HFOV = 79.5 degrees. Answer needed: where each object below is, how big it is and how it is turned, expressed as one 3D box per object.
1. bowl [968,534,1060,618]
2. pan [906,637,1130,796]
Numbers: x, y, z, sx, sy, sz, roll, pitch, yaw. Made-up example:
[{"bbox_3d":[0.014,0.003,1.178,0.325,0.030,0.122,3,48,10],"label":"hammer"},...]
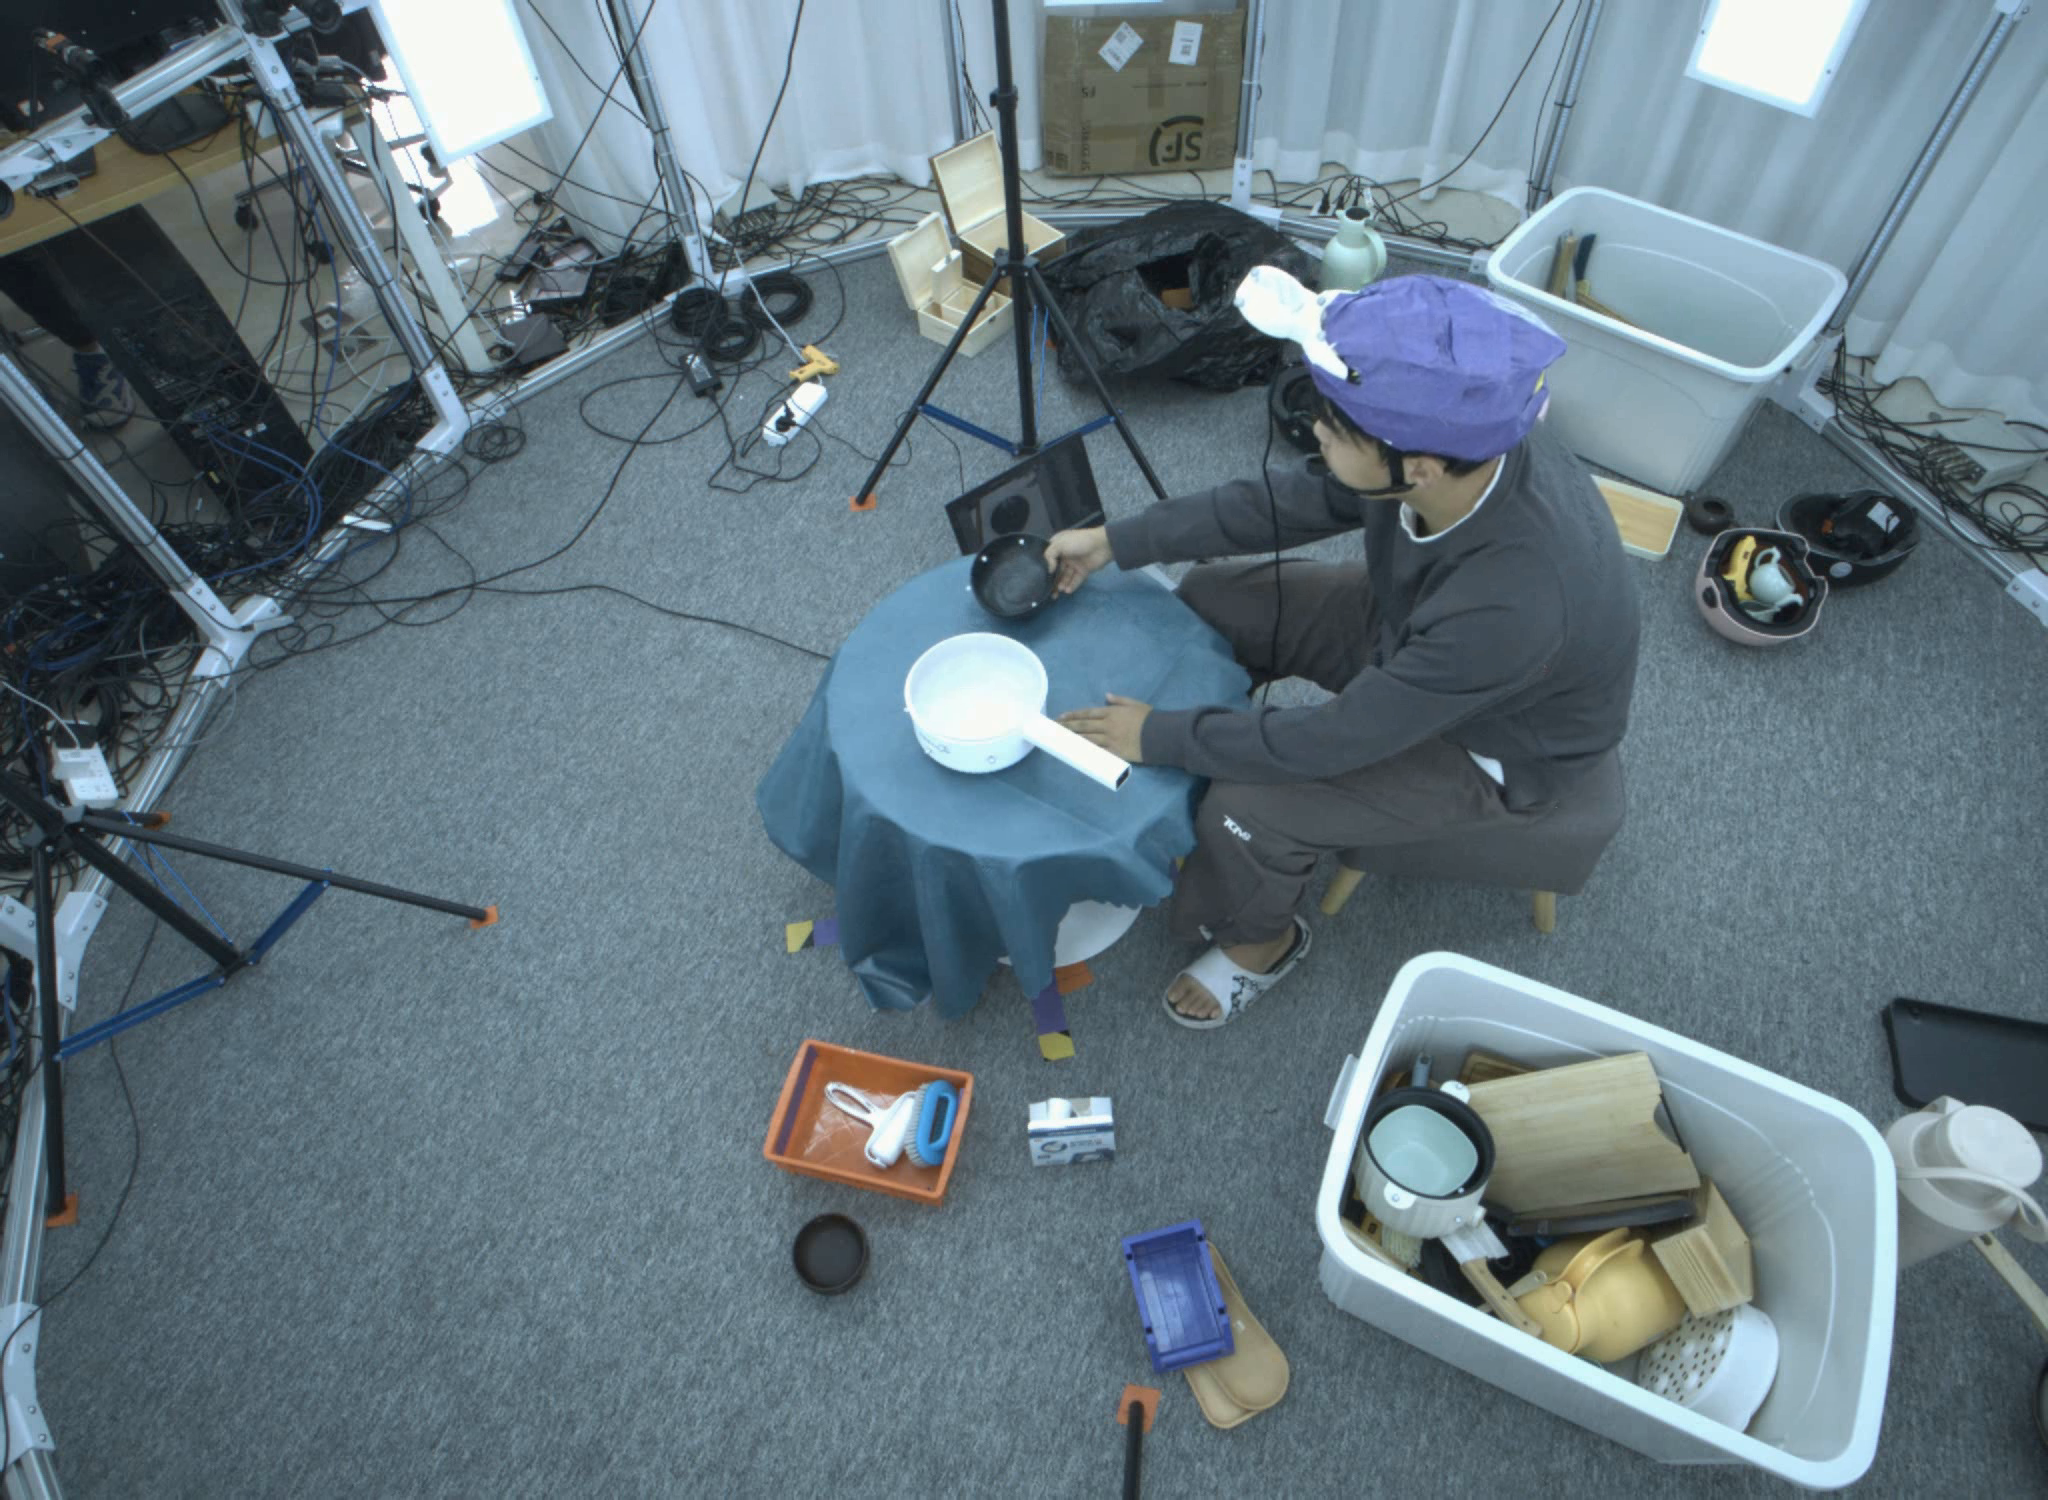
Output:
[{"bbox_3d":[-0.015,-0.266,1.931,0.136,0.067,0.170,21,62,9],"label":"bowl"},{"bbox_3d":[-0.006,-0.022,1.752,0.349,0.103,0.202,32,58,19],"label":"pan"}]
